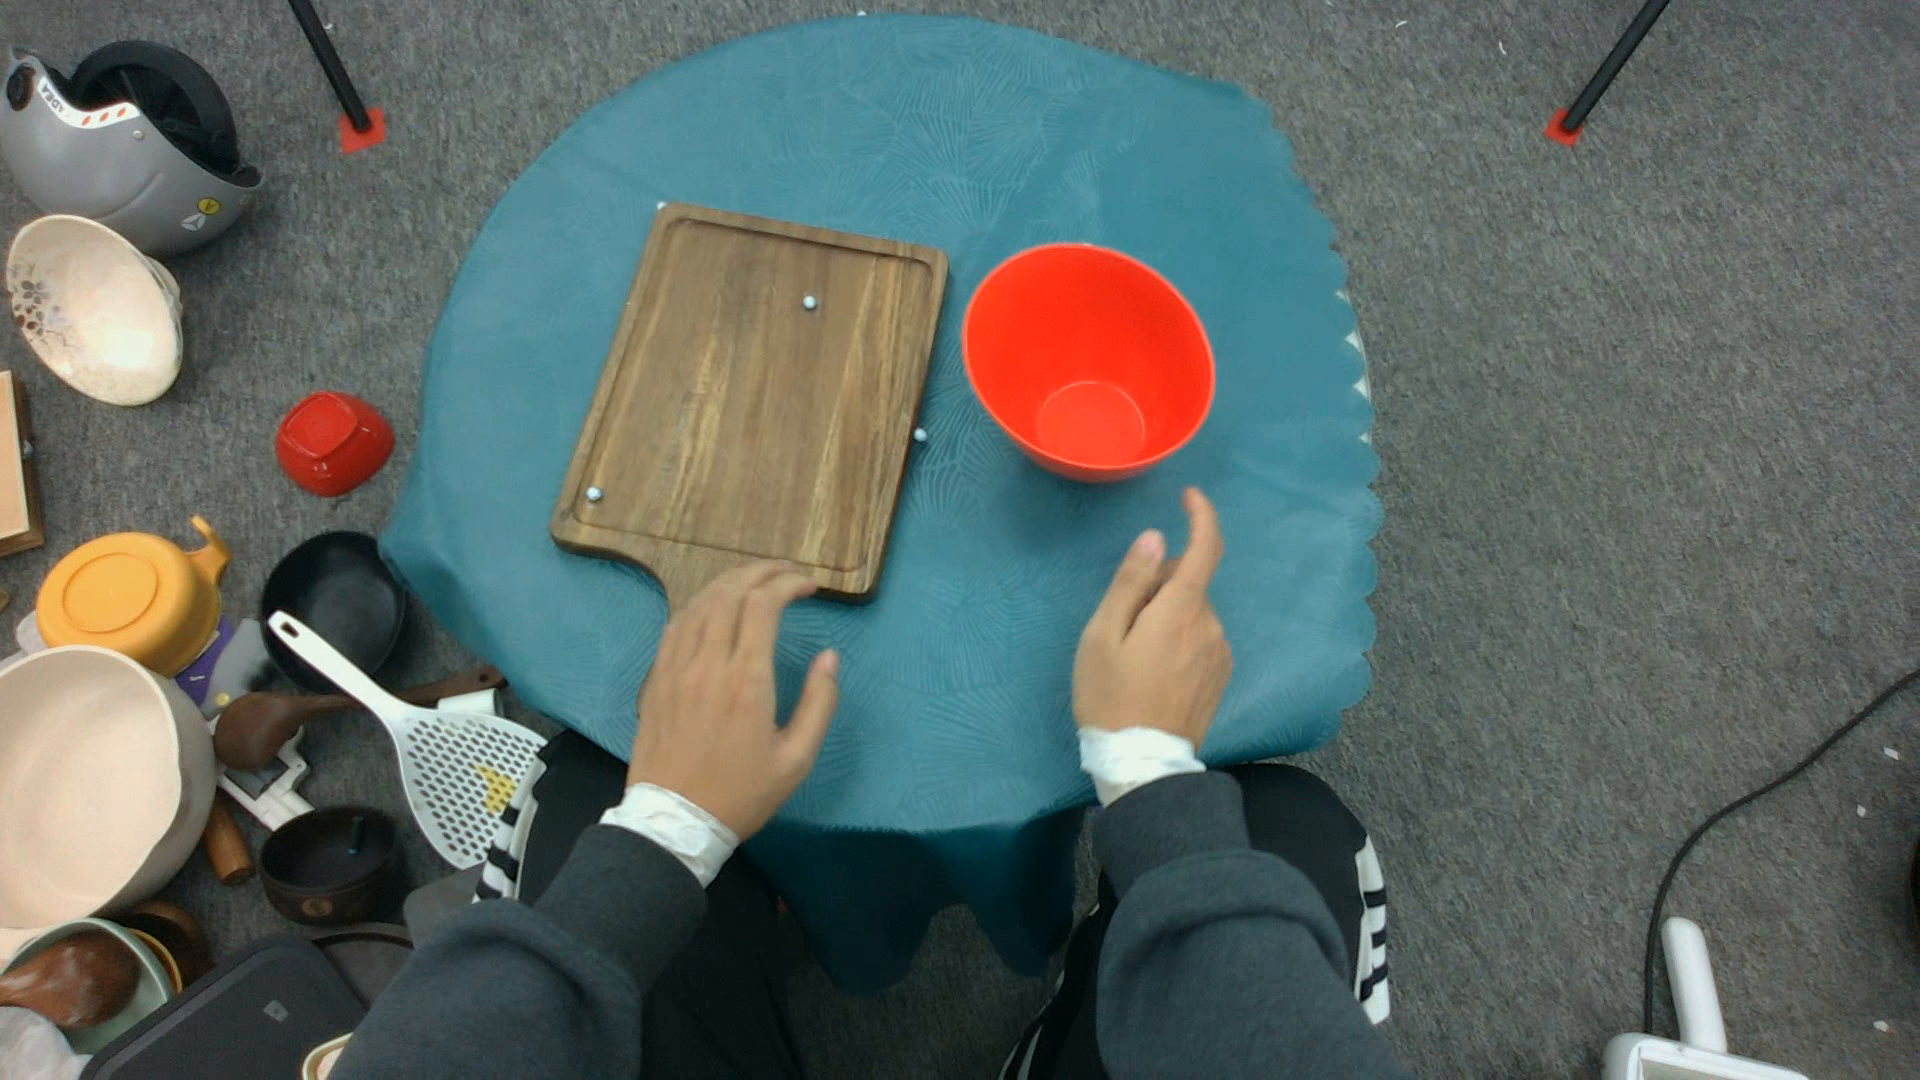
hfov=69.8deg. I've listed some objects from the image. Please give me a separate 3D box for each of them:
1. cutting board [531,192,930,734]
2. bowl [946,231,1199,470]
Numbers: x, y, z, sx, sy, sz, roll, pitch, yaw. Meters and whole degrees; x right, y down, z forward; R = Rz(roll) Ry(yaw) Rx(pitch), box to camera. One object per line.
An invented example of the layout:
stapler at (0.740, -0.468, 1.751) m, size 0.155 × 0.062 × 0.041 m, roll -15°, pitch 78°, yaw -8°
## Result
cutting board at (-0.143, -0.054, 0.832) m, size 0.201 × 0.023 × 0.353 m, roll 10°, pitch 66°, yaw 2°
bowl at (0.063, -0.098, 0.820) m, size 0.148 × 0.104 × 0.148 m, roll 1°, pitch 66°, yaw -3°
